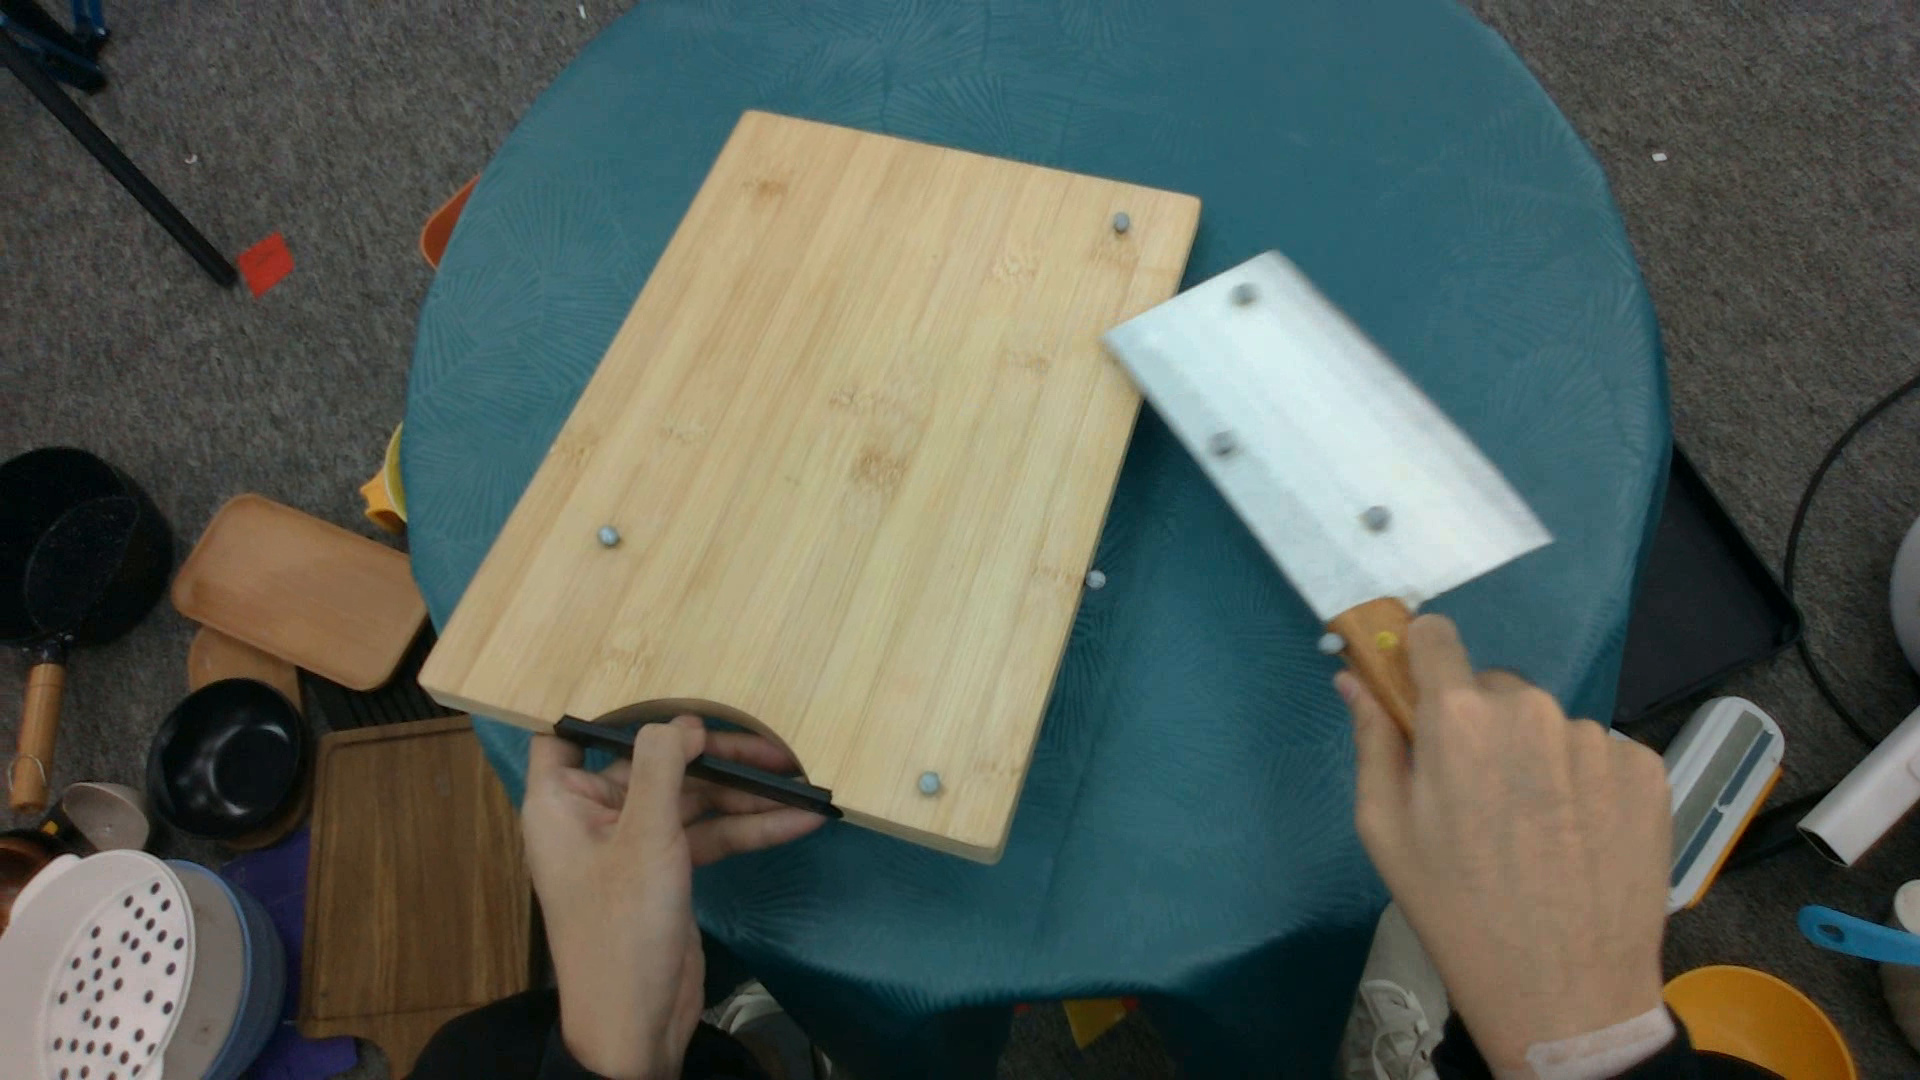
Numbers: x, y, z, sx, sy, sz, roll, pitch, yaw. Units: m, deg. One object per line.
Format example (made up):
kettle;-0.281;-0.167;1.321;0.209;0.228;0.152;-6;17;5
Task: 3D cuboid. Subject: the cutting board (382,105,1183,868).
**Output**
cutting board;-0.058;-0.051;0.608;0.250;0.023;0.350;13;59;10

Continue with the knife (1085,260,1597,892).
knife;0.153;-0.011;0.532;0.093;0.021;0.306;-26;53;-5
